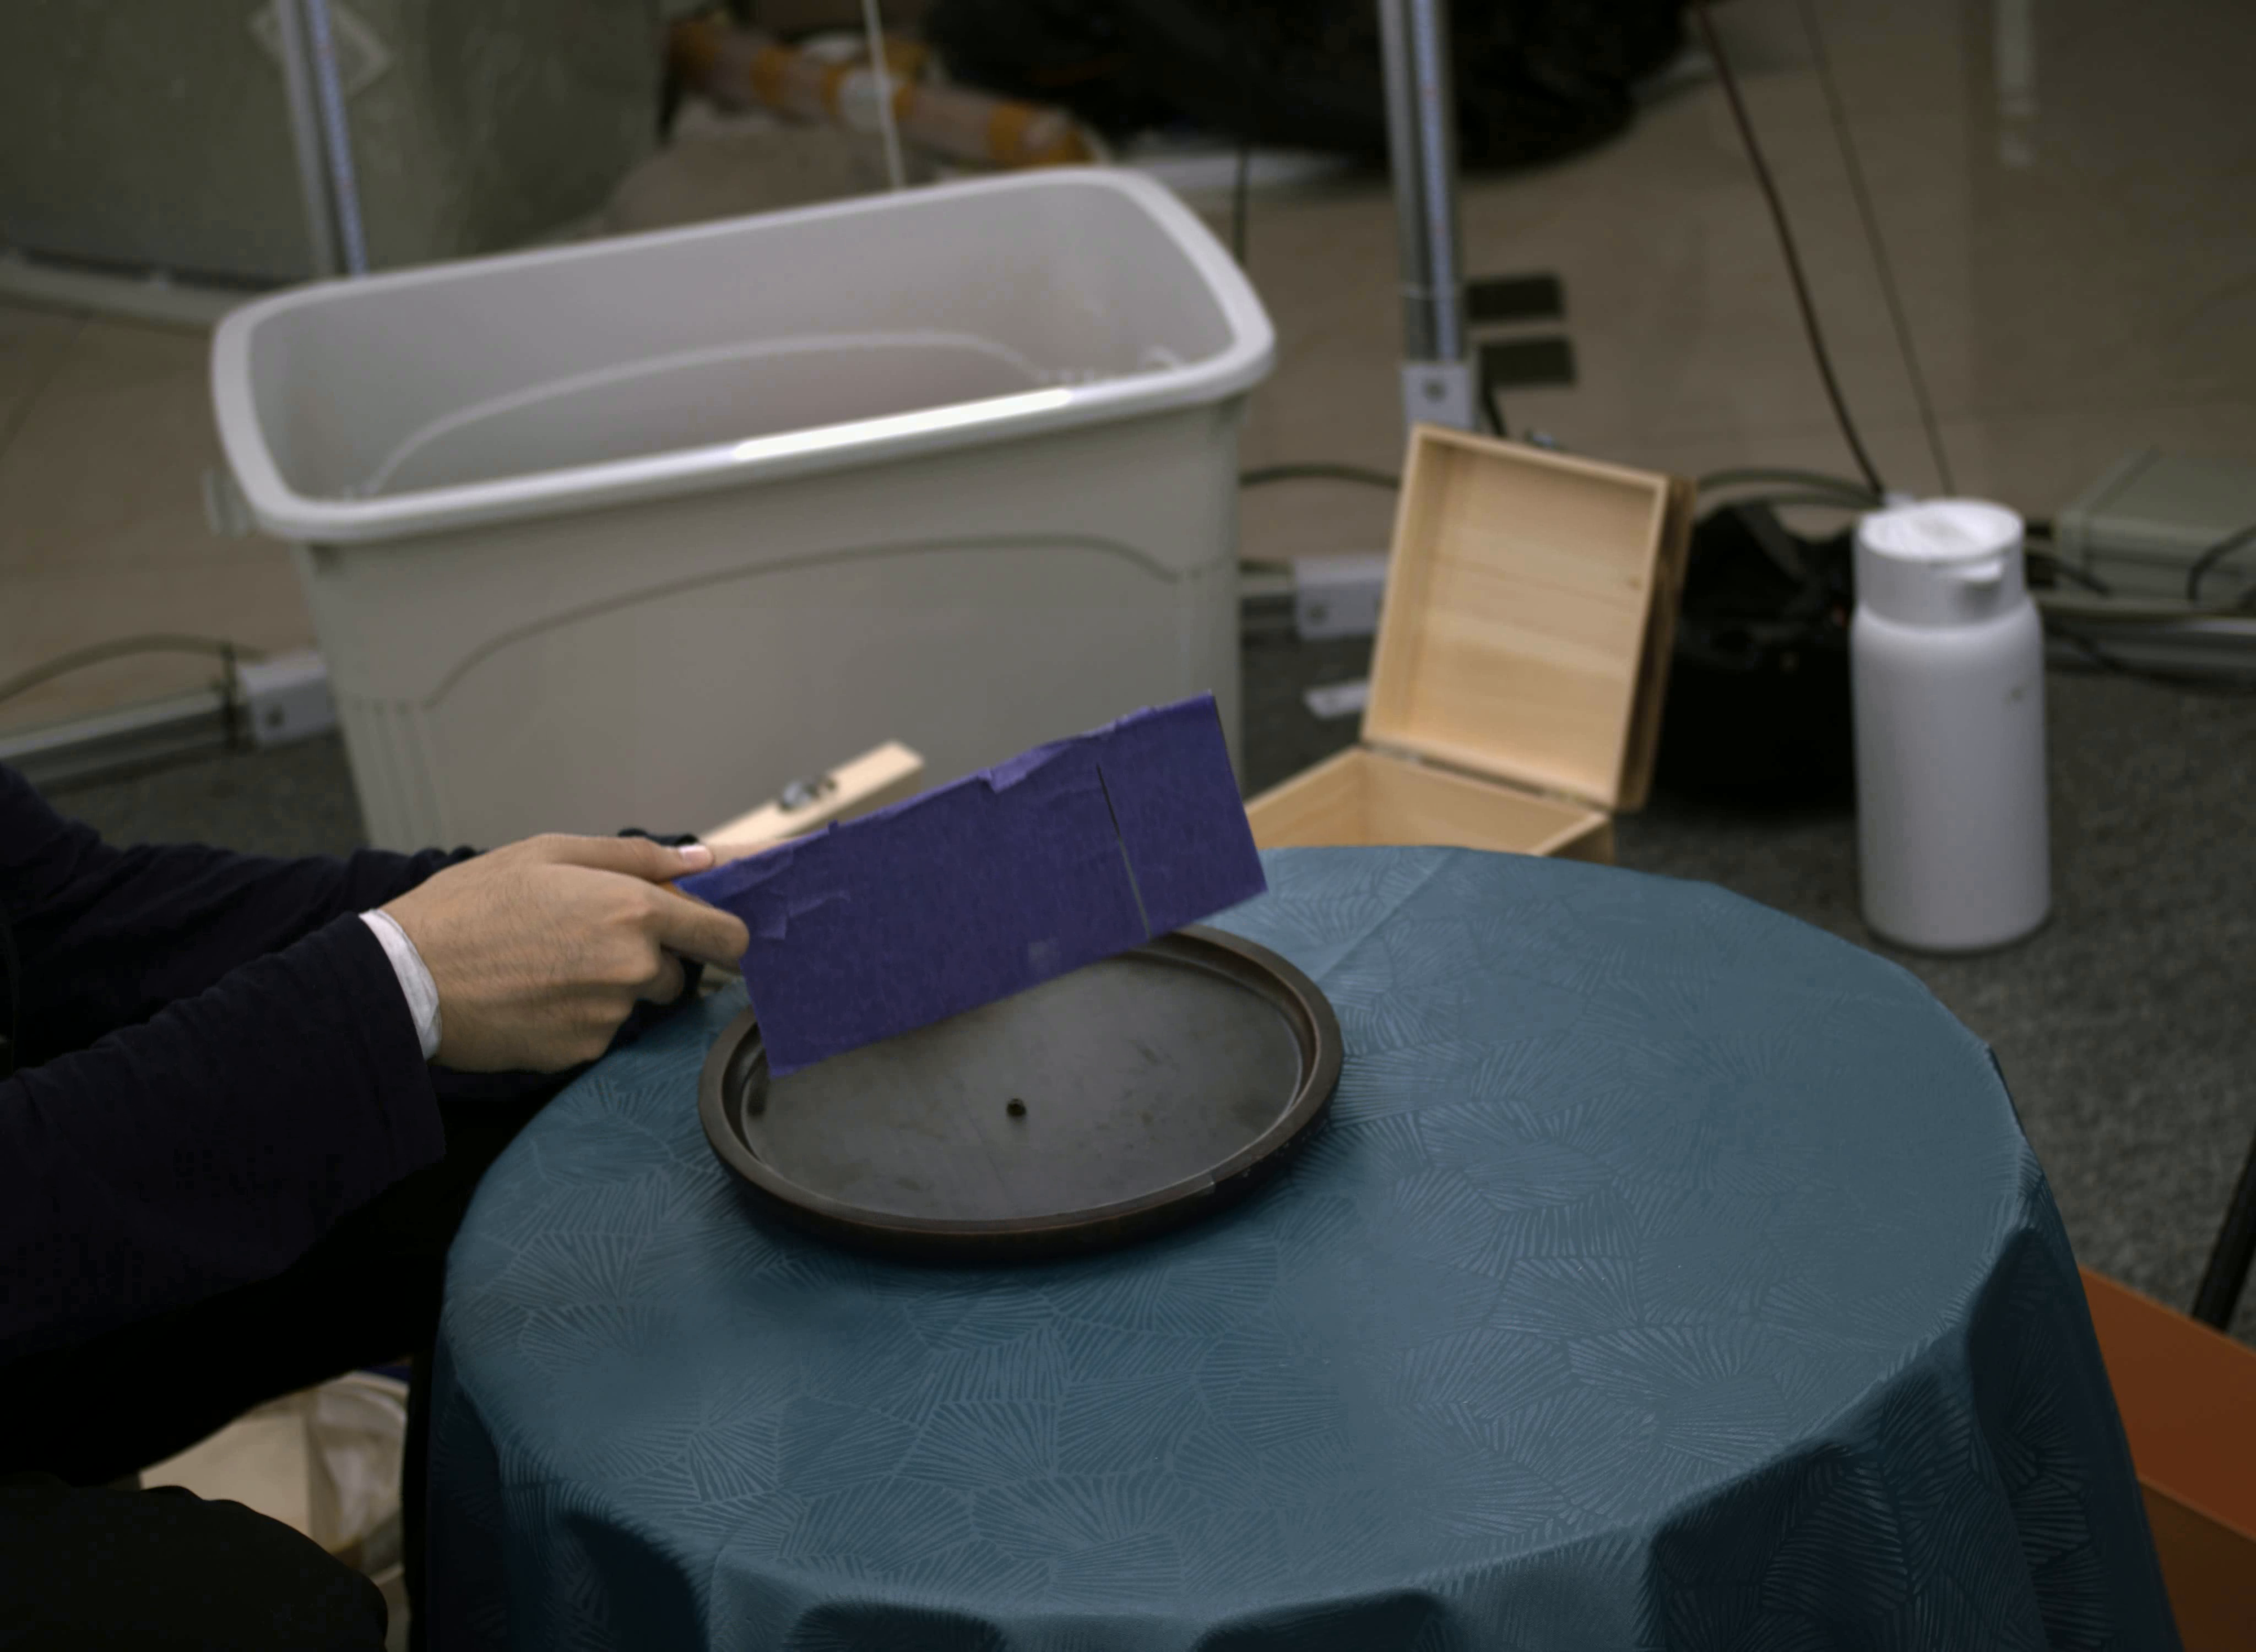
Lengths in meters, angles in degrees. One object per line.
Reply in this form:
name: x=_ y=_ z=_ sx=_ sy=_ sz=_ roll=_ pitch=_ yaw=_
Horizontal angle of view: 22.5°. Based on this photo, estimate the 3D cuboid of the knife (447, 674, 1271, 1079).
knife: x=-0.096 y=0.041 z=2.134 sx=0.314 sy=0.105 sz=0.032 roll=-20 pitch=23 yaw=-9

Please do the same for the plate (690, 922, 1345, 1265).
plate: x=-0.042 y=0.101 z=2.202 sx=0.254 sy=0.029 sz=0.251 roll=-3 pitch=28 yaw=2
